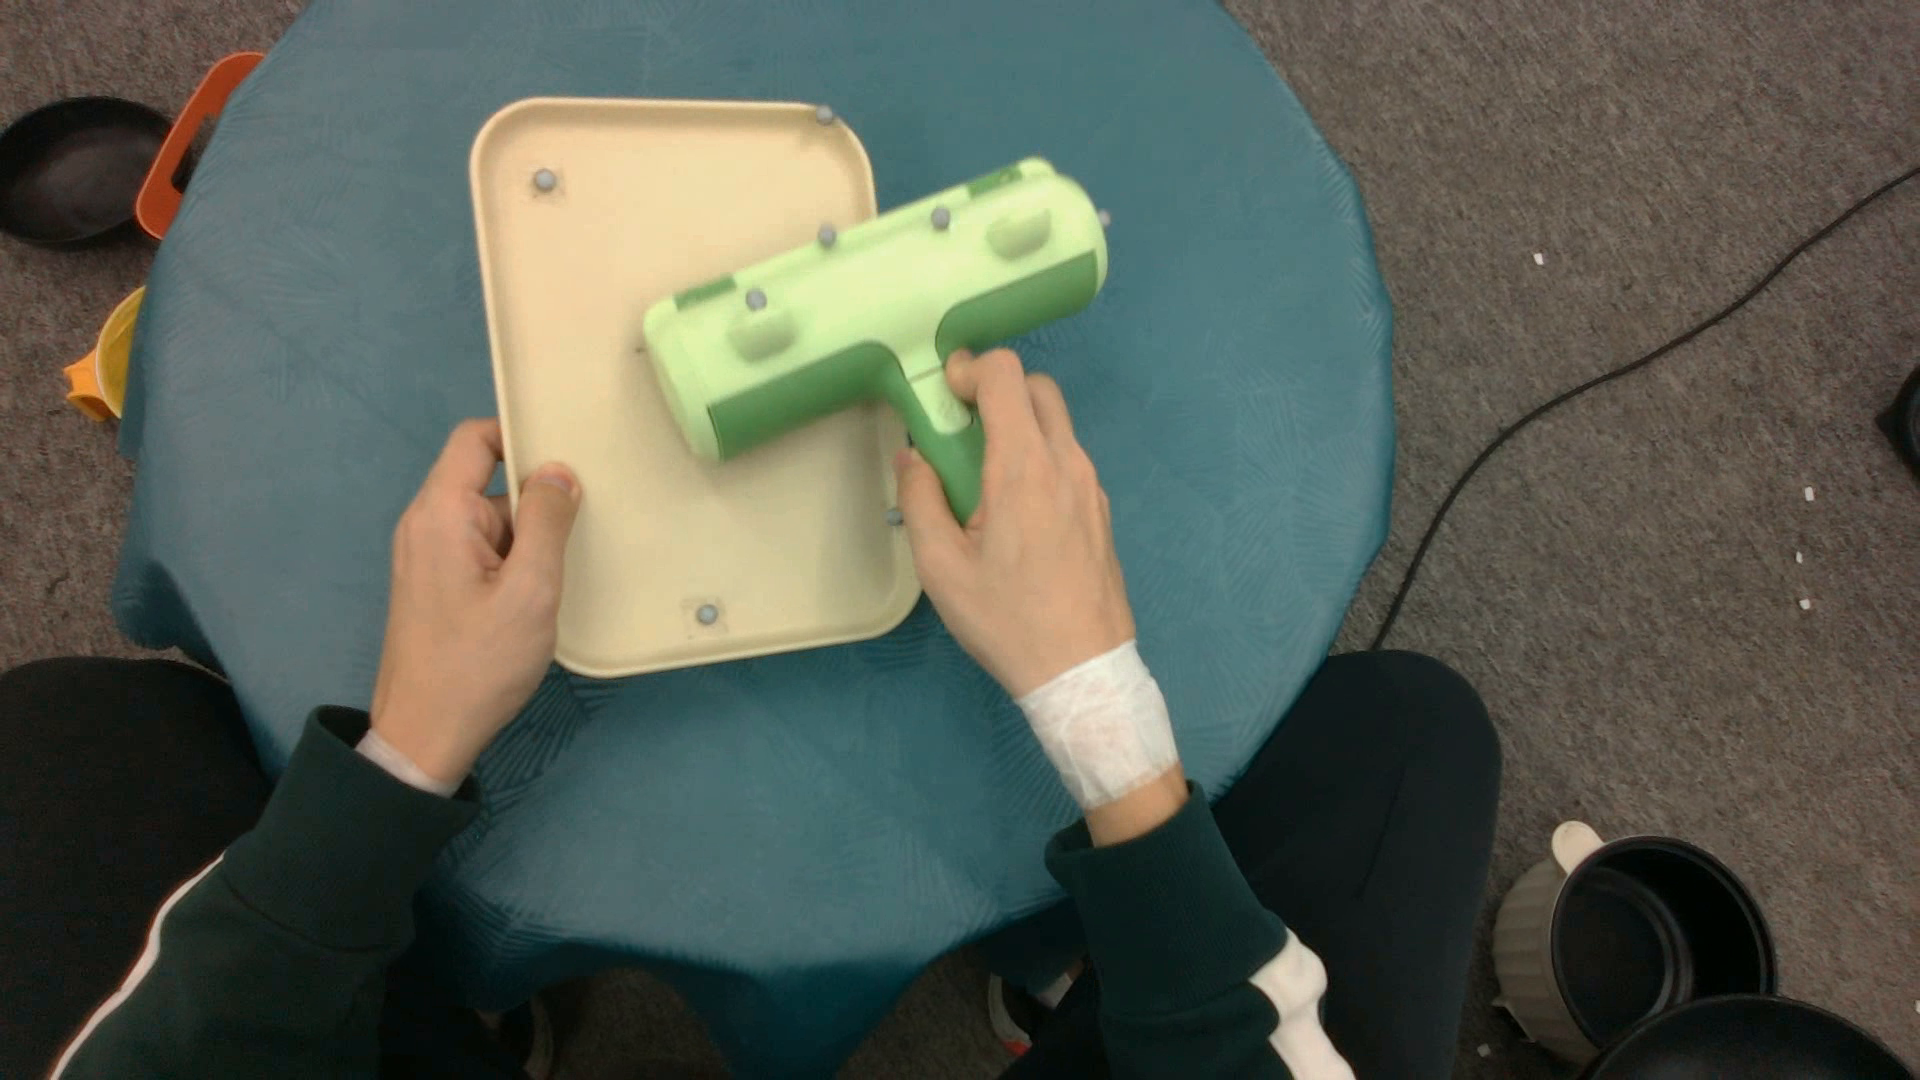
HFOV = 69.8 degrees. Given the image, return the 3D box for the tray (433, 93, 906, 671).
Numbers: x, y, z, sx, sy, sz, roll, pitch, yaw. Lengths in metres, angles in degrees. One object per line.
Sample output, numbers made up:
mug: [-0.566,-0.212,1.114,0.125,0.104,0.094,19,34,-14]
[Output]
tray: [-0.121,-0.072,0.589,0.172,0.017,0.240,-9,87,-24]

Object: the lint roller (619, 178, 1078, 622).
lint roller: [-0.013,-0.054,0.560,0.199,0.082,0.183,-27,66,-18]
